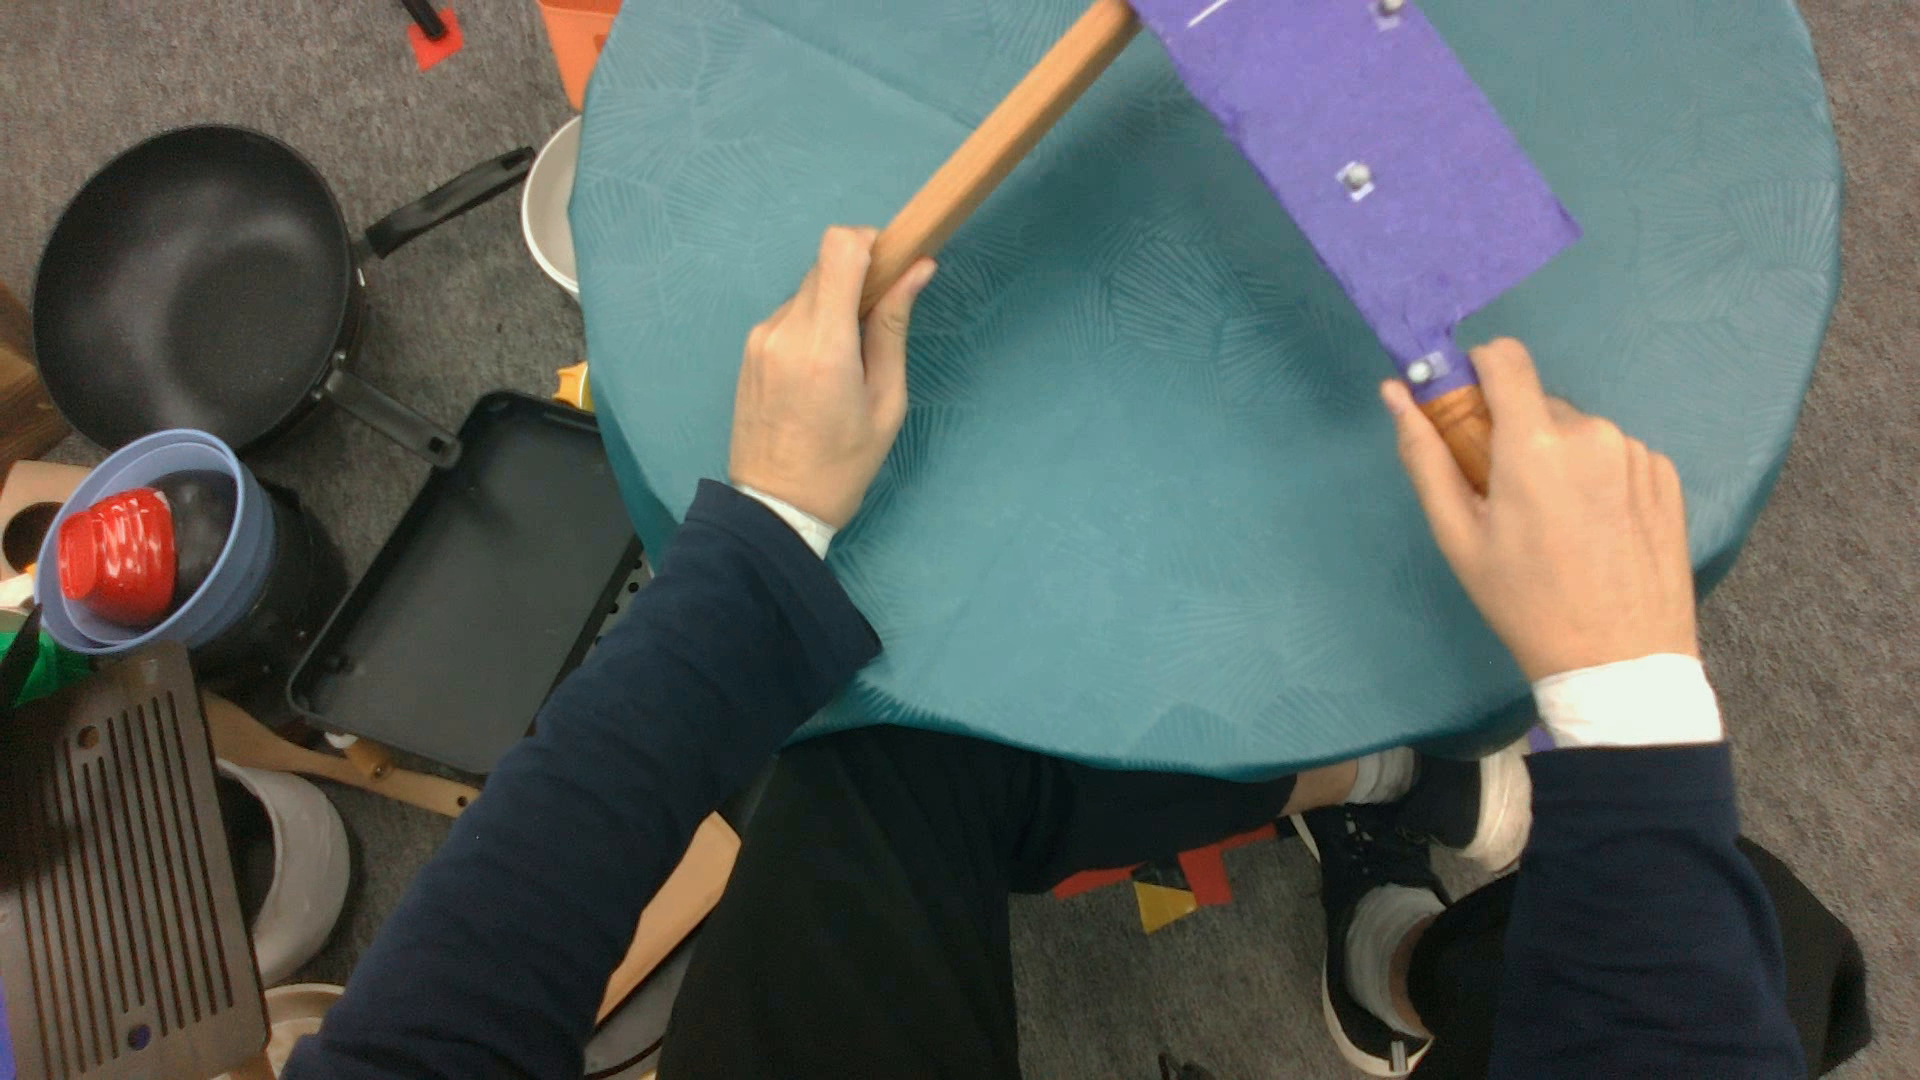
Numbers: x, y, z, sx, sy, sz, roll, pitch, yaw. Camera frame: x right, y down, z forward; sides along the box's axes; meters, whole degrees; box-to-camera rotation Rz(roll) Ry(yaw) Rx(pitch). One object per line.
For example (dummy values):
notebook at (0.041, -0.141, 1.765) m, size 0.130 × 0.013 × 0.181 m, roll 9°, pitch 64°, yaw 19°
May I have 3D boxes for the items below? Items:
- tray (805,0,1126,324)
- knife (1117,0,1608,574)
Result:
tray at (0.014, -0.182, 0.597) m, size 0.020 × 0.102 × 0.231 m, roll 40°, pitch 93°, yaw -5°
knife at (0.164, -0.136, 0.521) m, size 0.104 × 0.032 × 0.315 m, roll -38°, pitch 93°, yaw -6°
